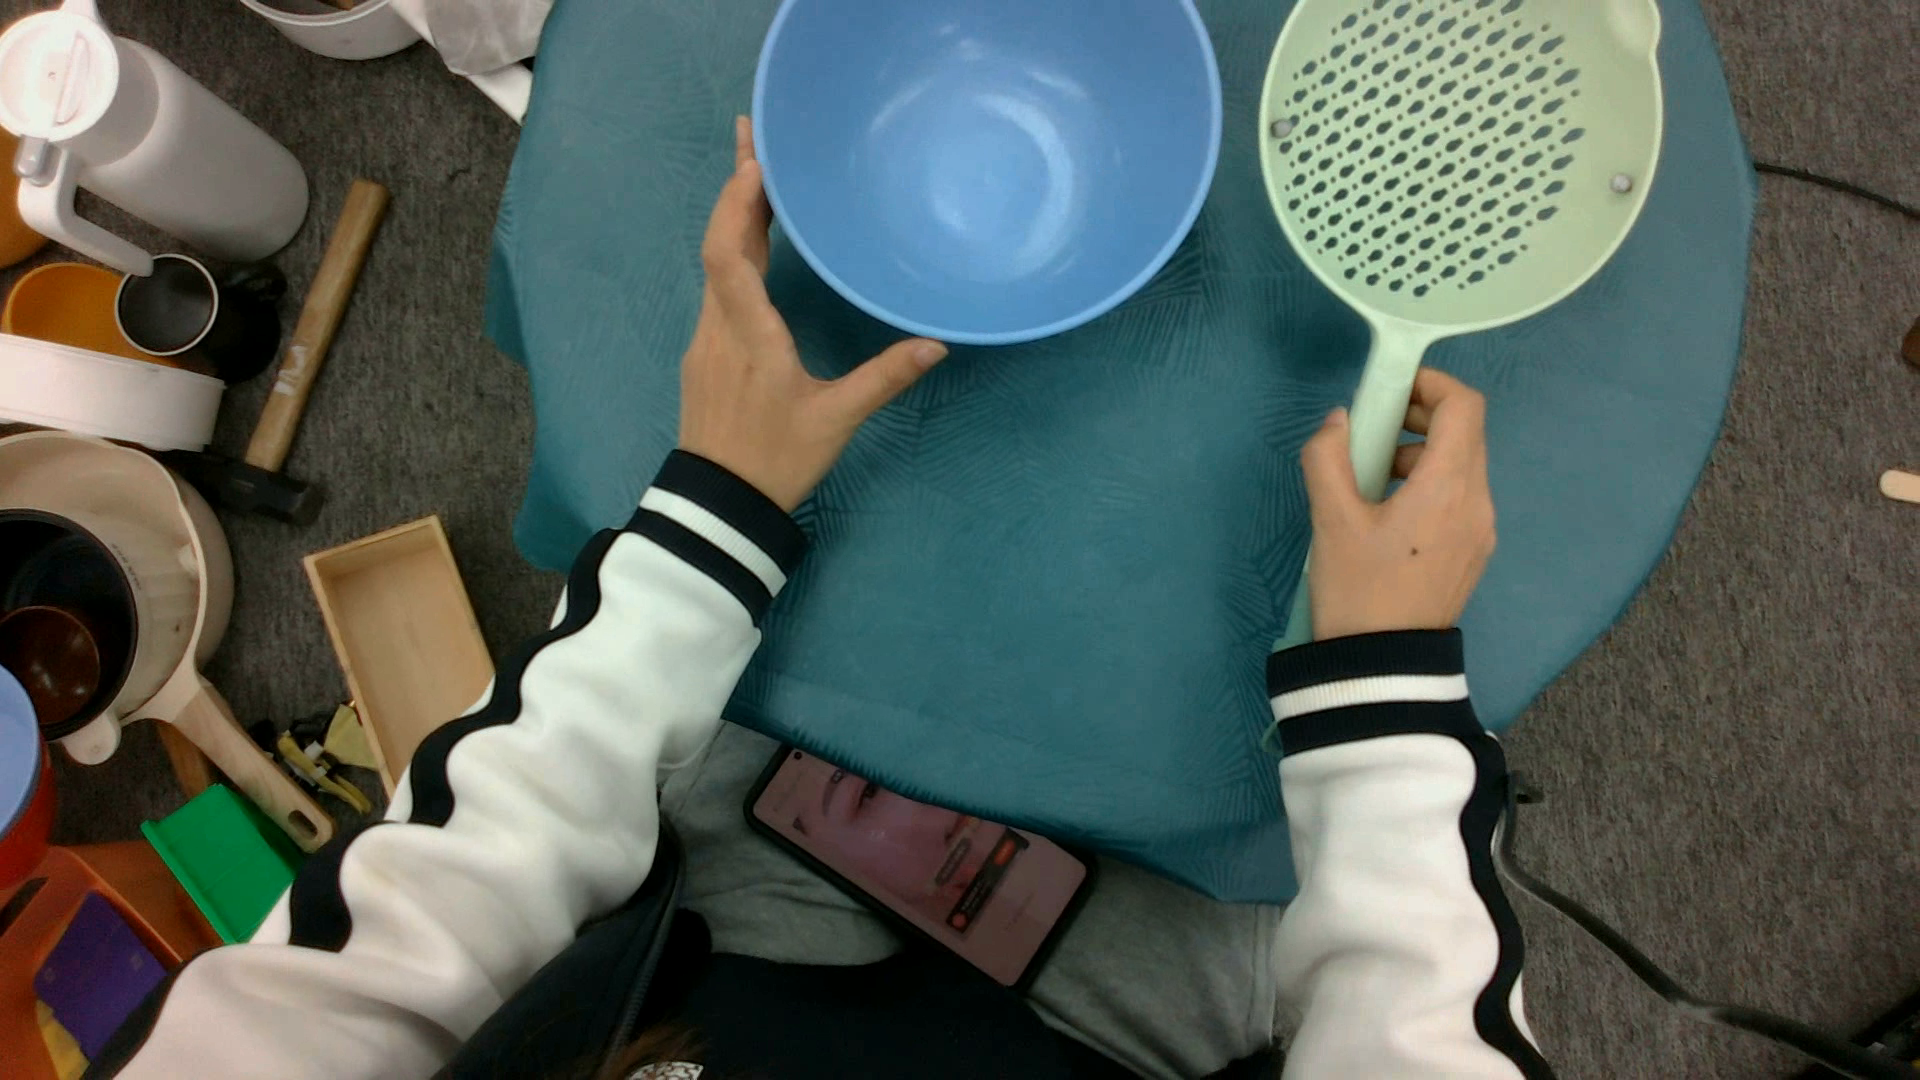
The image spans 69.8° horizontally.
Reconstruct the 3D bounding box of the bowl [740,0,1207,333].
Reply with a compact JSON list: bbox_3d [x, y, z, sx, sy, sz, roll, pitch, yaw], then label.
[{"bbox_3d":[0.005,-0.180,0.623,0.196,0.095,0.196,0,85,-1],"label":"bowl"}]

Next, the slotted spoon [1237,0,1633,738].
[{"bbox_3d":[0.178,-0.085,0.601,0.169,0.075,0.359,13,87,-2],"label":"slotted spoon"}]
